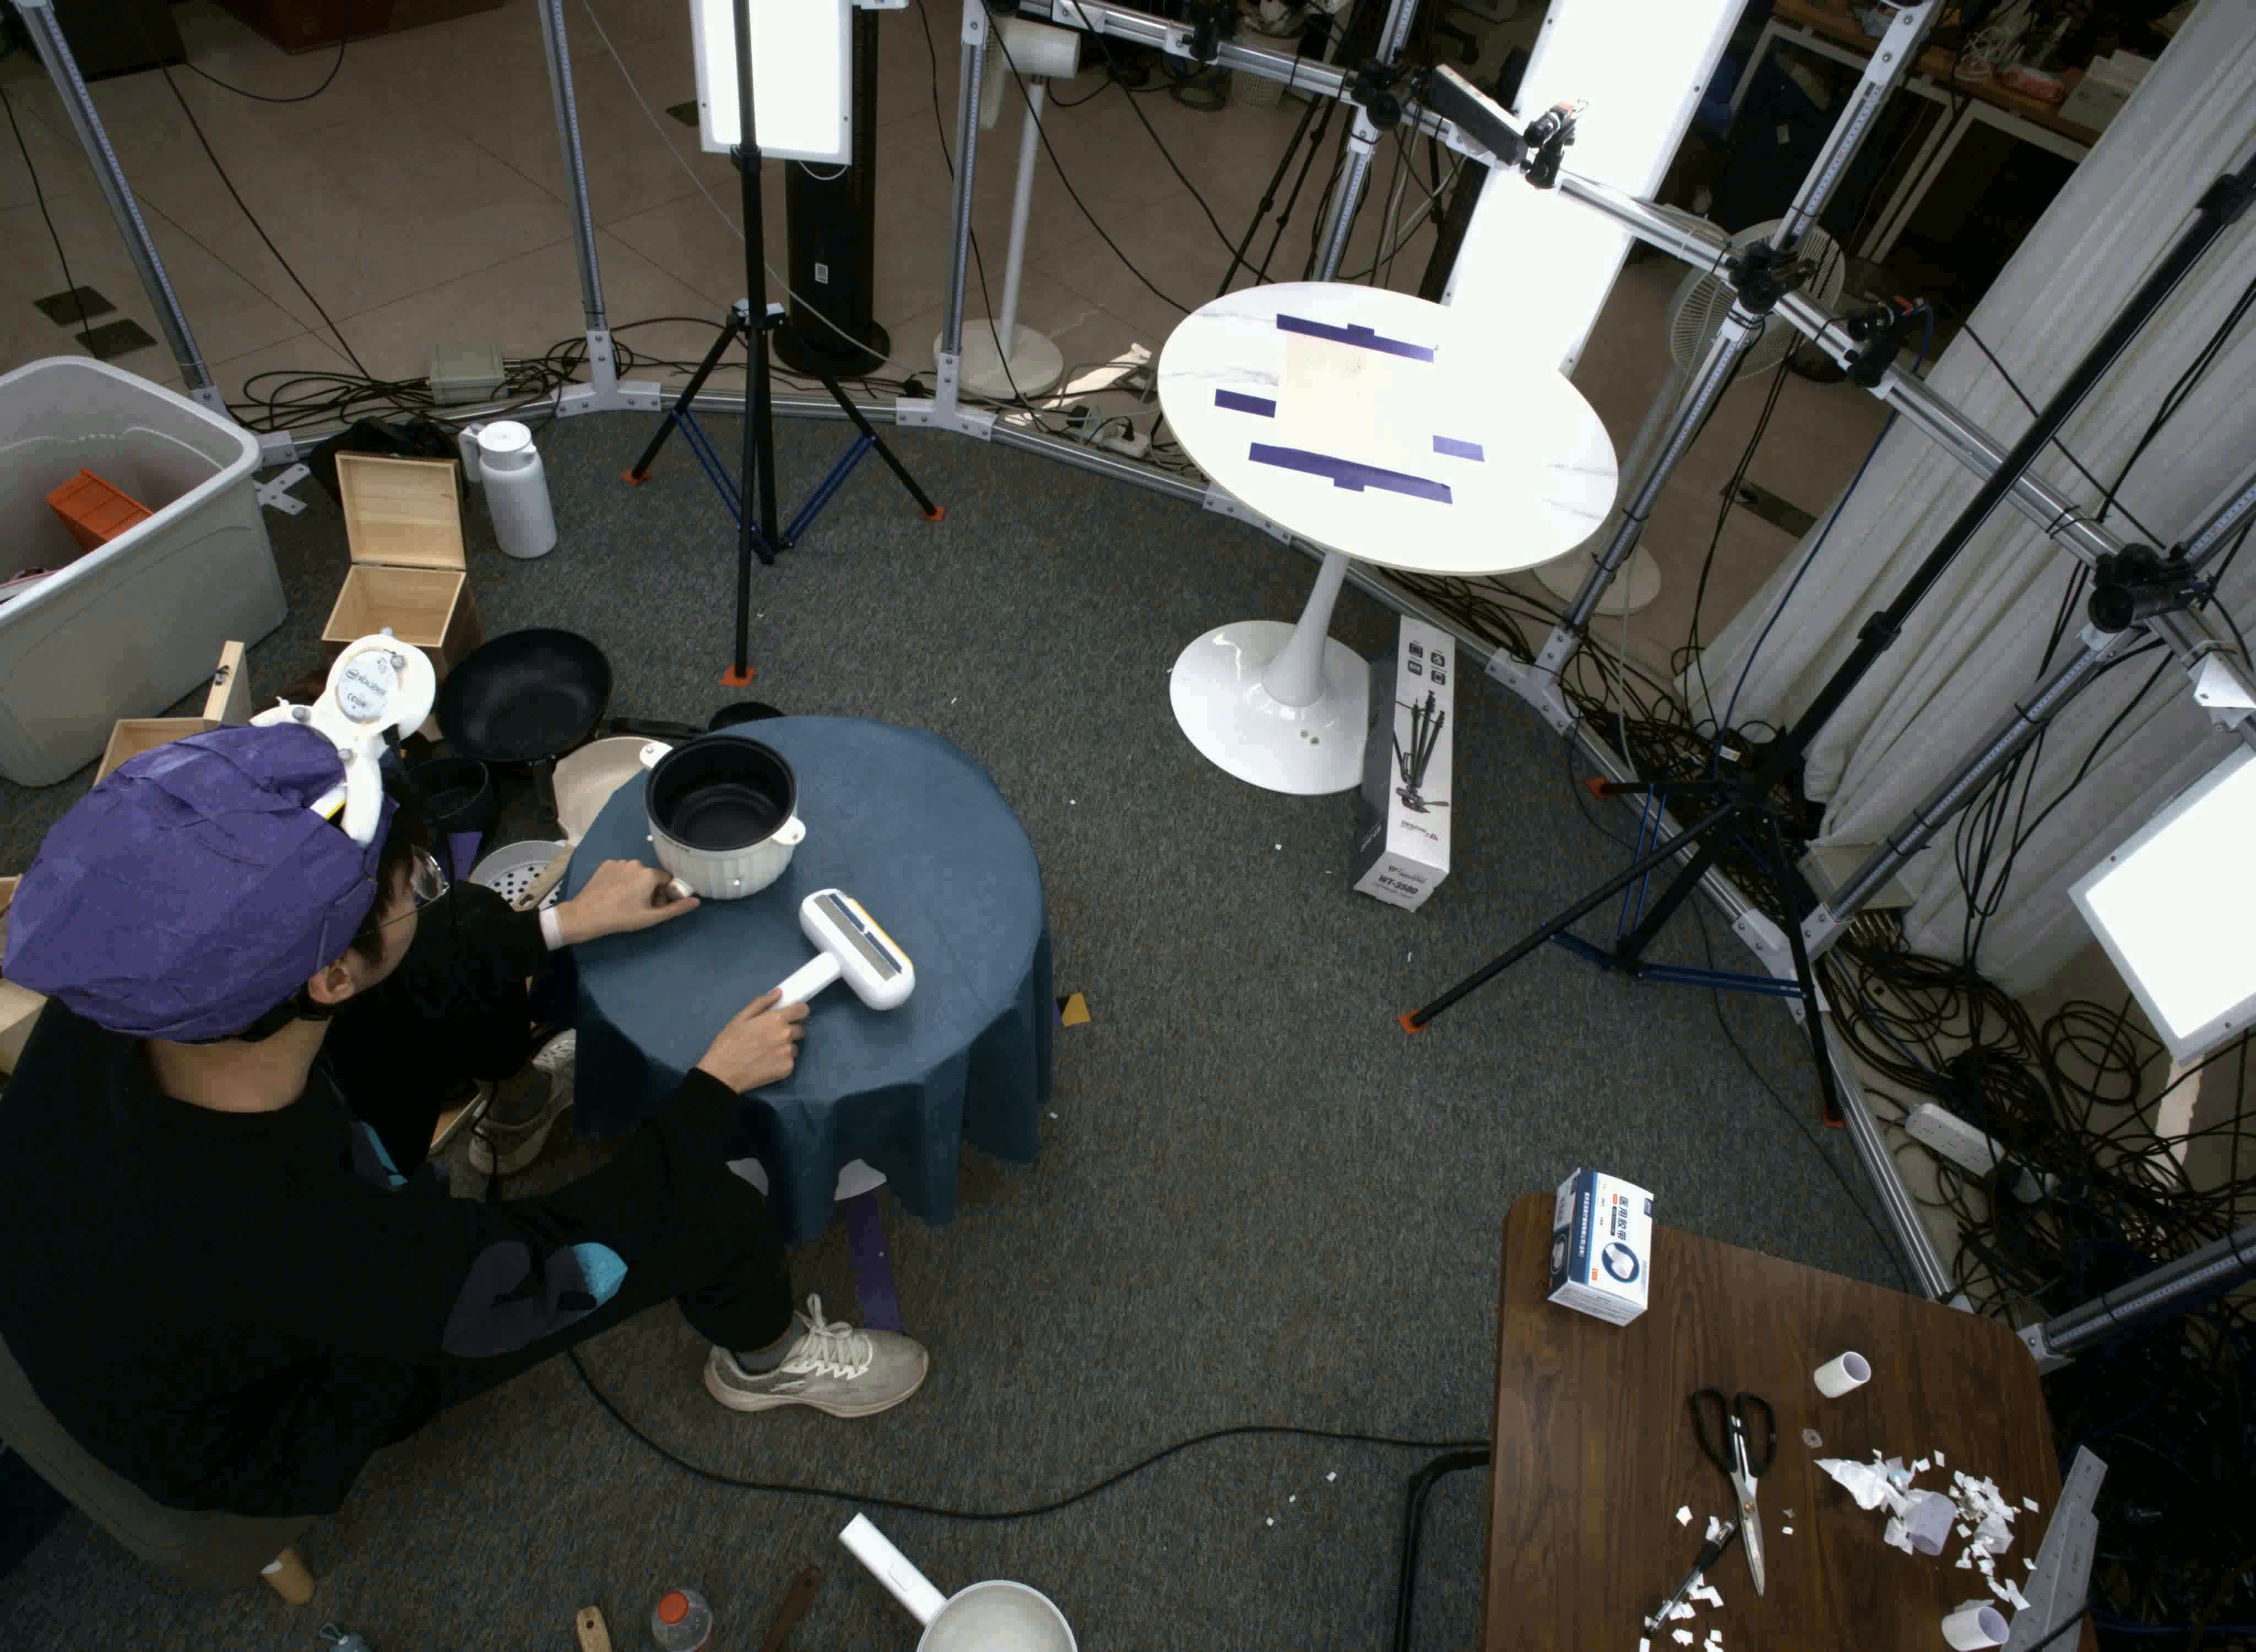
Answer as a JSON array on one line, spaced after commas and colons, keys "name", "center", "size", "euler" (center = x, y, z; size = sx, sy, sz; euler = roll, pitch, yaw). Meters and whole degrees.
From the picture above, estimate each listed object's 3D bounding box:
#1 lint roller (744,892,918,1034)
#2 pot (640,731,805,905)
[{"name": "lint roller", "center": [-0.375, 0.180, 1.566], "size": [0.193, 0.076, 0.187], "euler": [-27, 59, -28]}, {"name": "pot", "center": [-0.509, -0.002, 1.618], "size": [0.236, 0.146, 0.189], "euler": [27, 49, 8]}]
